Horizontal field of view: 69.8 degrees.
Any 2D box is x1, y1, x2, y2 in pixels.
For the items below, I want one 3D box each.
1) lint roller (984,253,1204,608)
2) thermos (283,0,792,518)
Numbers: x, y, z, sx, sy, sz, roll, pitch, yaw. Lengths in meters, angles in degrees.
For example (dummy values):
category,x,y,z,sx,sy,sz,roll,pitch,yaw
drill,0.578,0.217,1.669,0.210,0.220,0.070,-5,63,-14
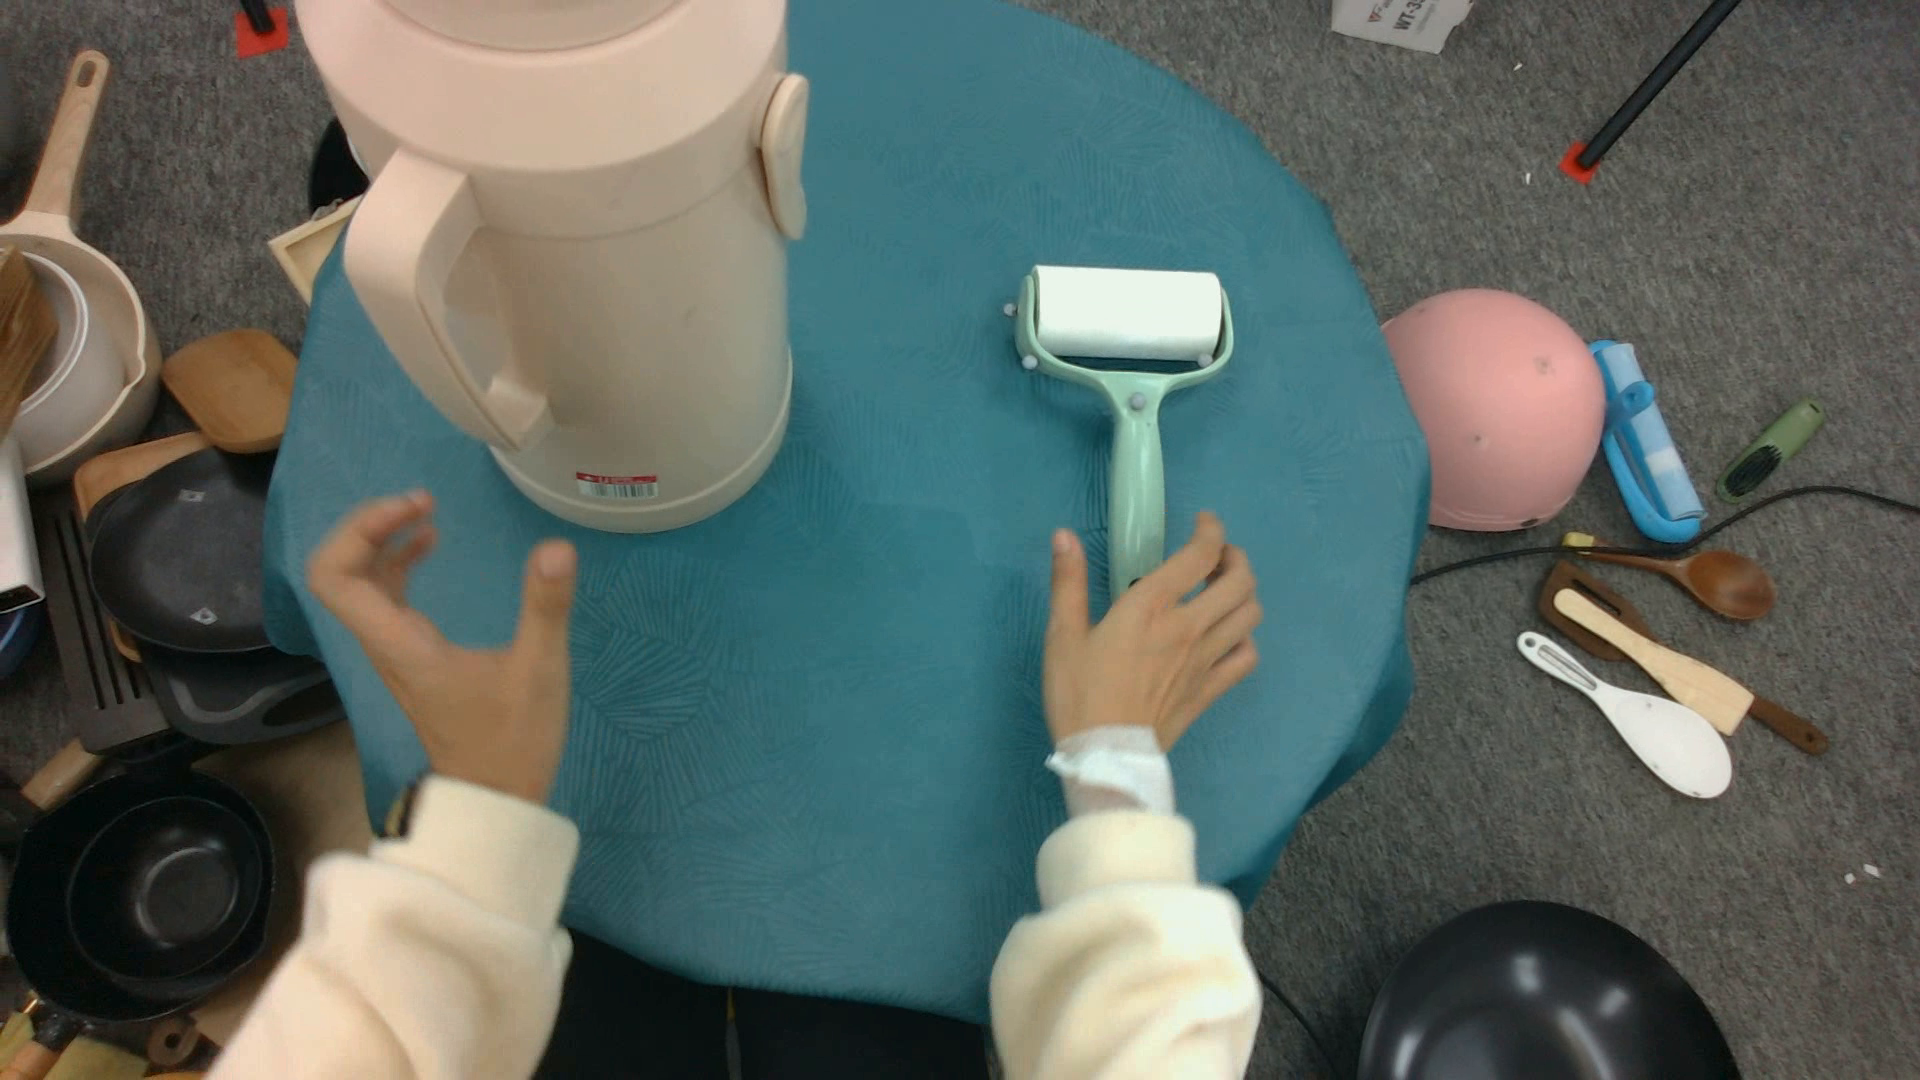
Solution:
category,x,y,z,sx,sy,sz,roll,pitch,yaw
lint roller,0.074,-0.063,0.727,0.117,0.048,0.198,2,68,-10
thermos,-0.158,-0.142,0.536,0.175,0.404,0.208,21,67,0
